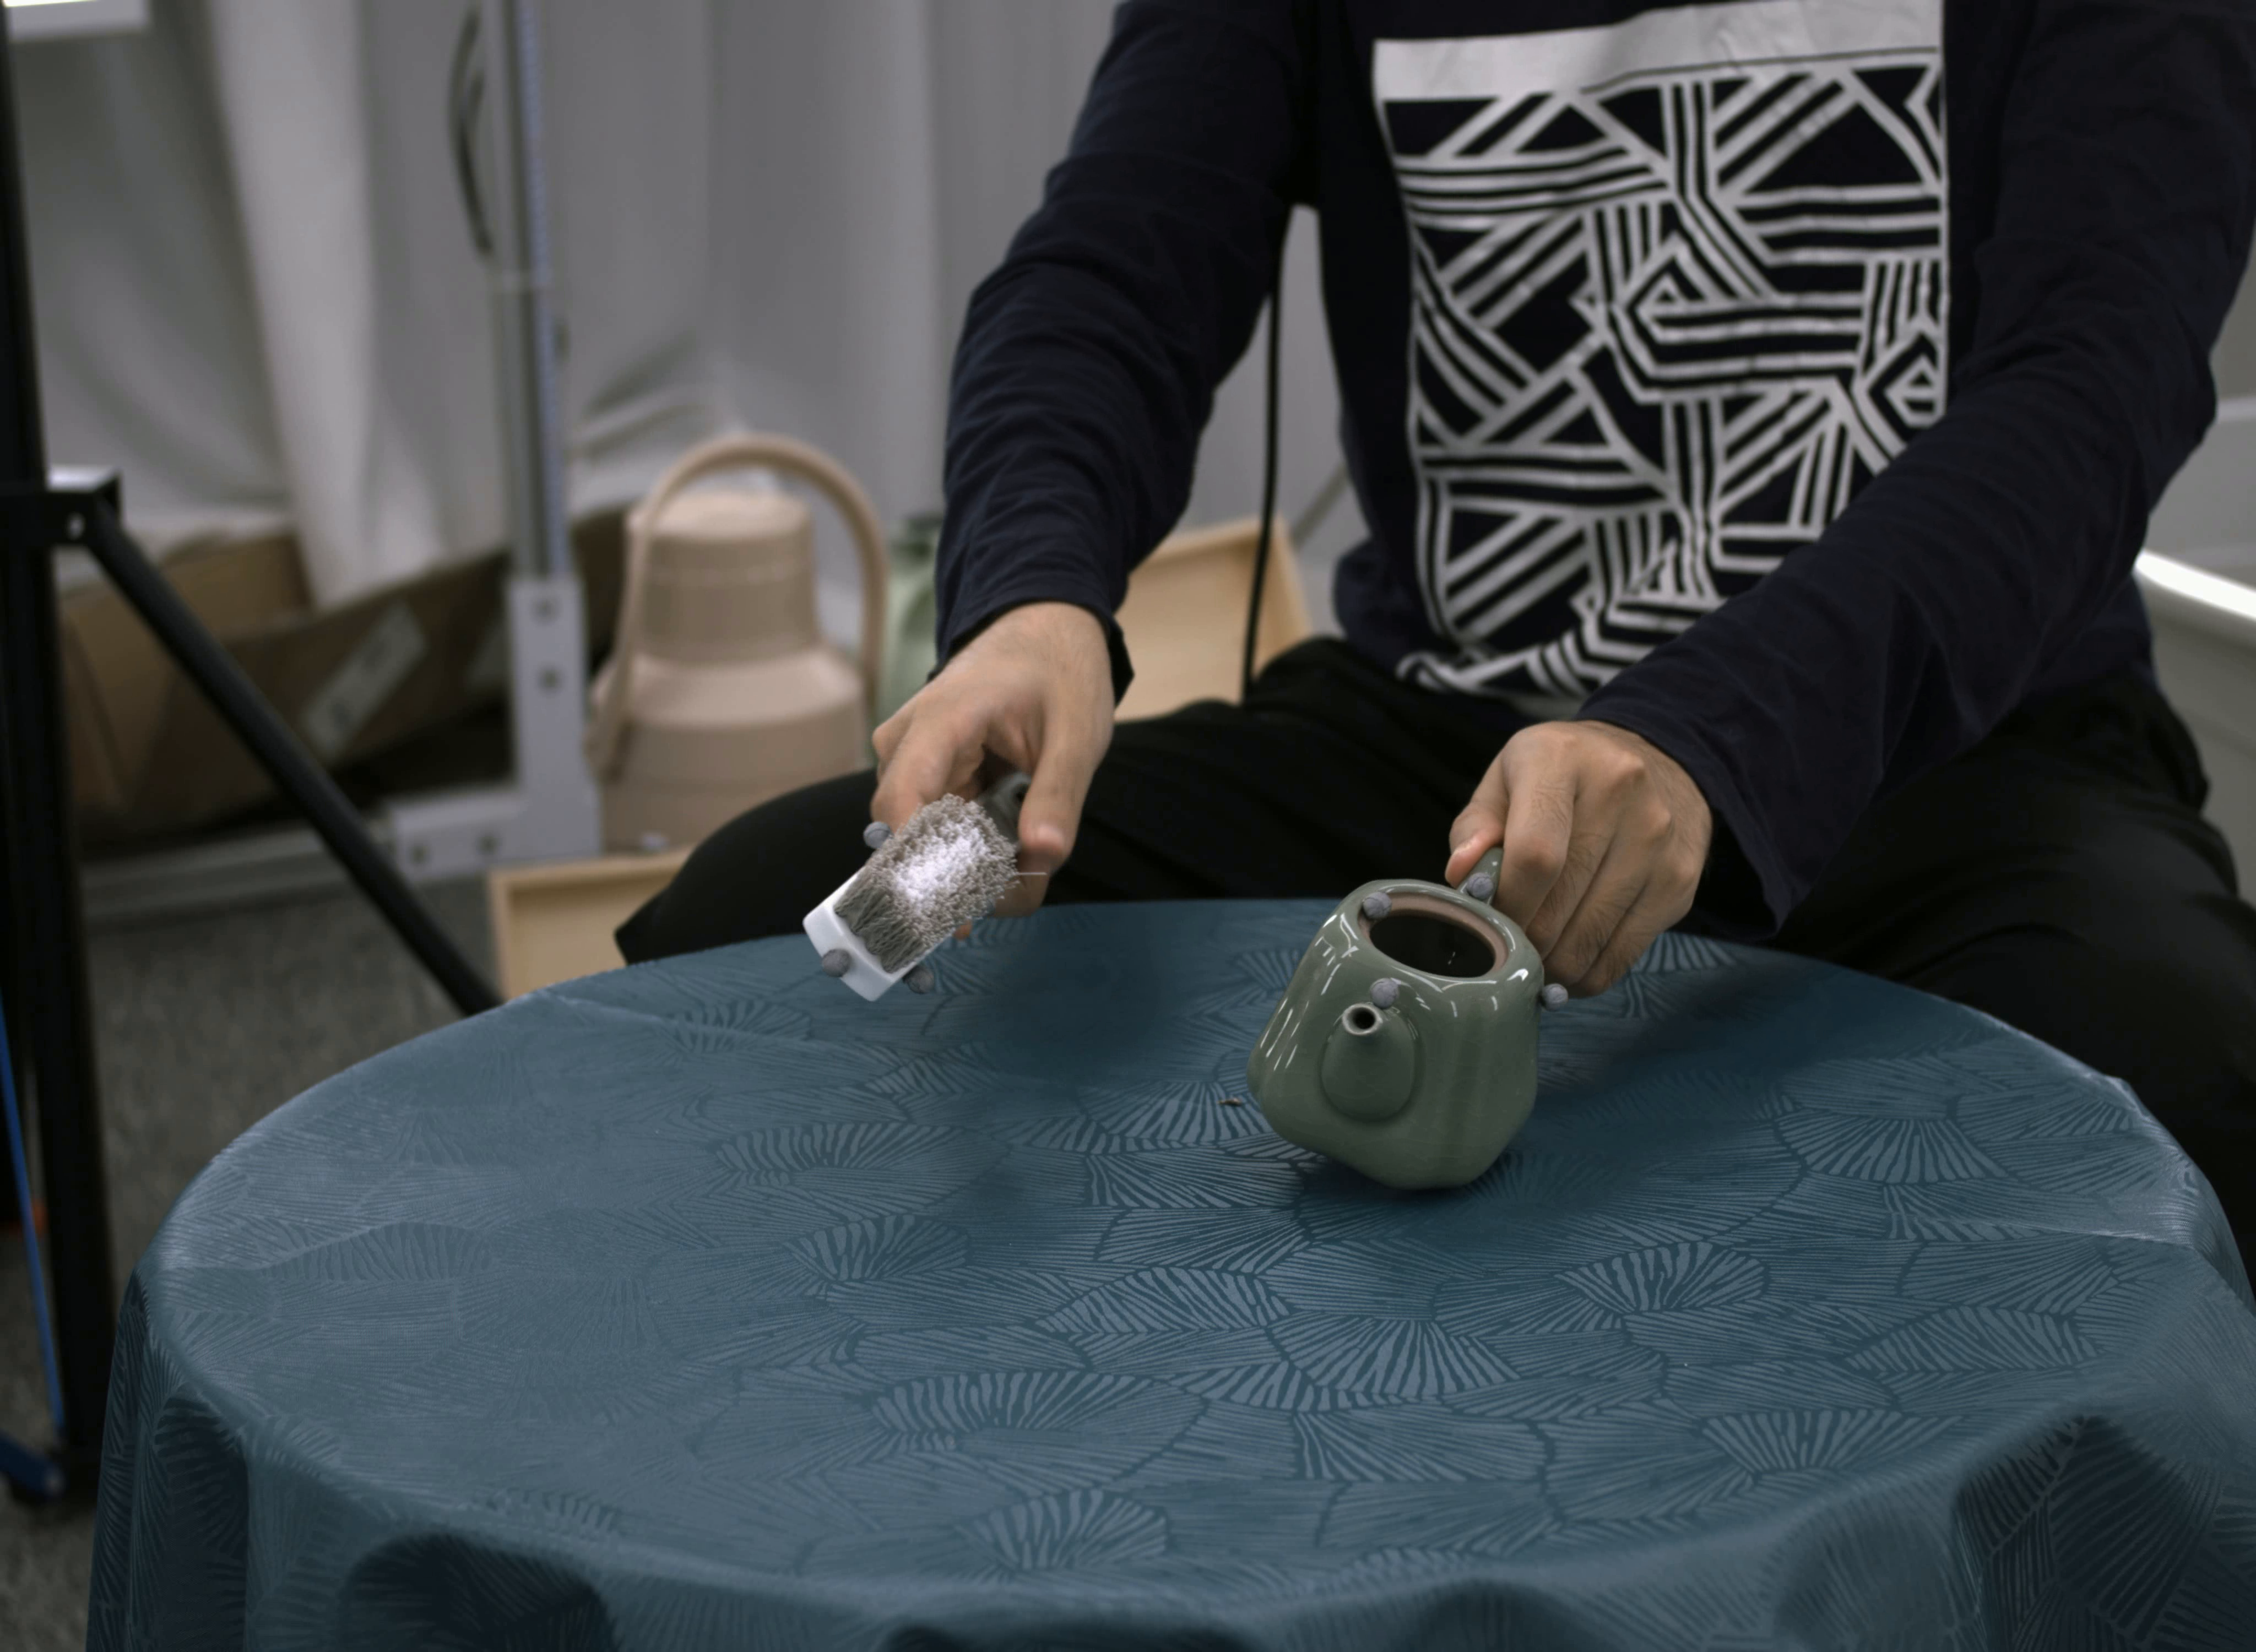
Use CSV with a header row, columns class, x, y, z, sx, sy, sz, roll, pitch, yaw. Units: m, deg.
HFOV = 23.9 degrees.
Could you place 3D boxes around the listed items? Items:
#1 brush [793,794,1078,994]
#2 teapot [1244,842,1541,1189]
class,x,y,z,sx,sy,sz,roll,pitch,yaw
brush,-0.044,0.004,1.656,0.034,0.050,0.241,43,18,5
teapot,0.083,0.058,1.561,0.080,0.075,0.131,23,31,15
